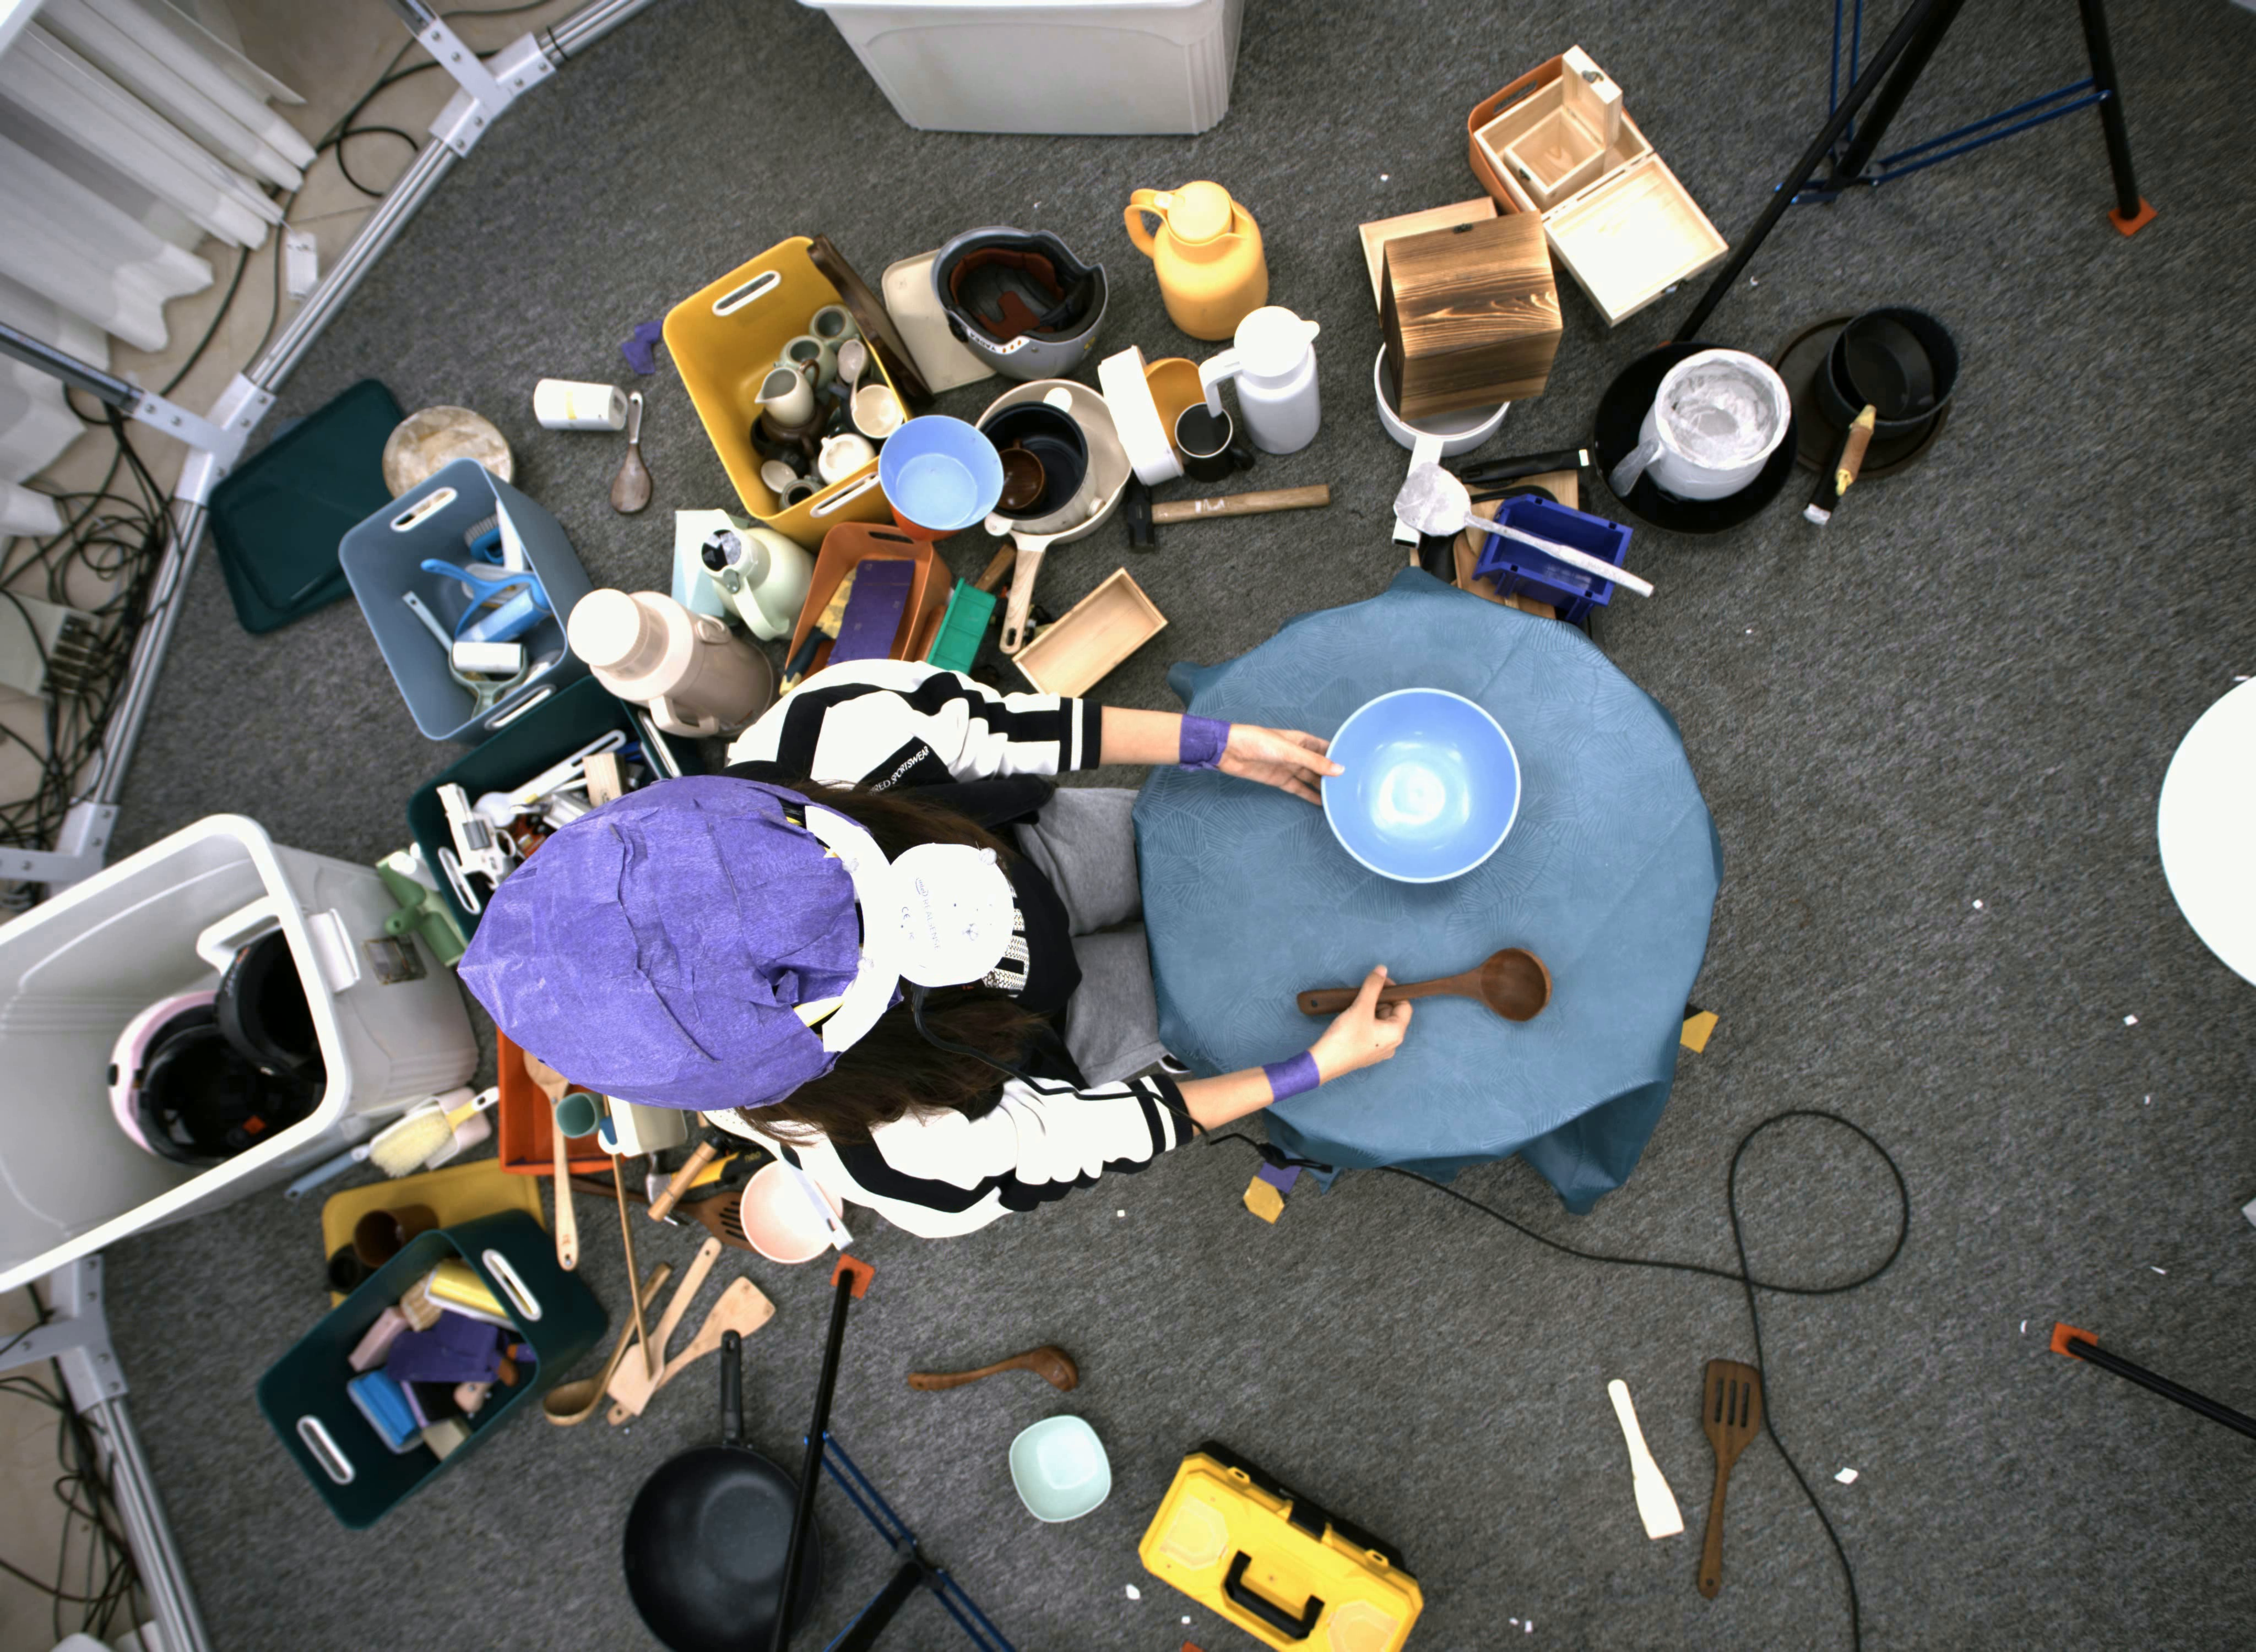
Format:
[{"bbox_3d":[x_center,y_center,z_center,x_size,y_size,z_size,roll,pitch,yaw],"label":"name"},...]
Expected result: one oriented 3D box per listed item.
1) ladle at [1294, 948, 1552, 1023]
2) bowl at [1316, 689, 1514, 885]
[{"bbox_3d":[0.300,0.170,1.412,0.261,0.065,0.076,-6,90,6],"label":"ladle"},{"bbox_3d":[0.290,-0.040,1.415,0.197,0.095,0.196,0,91,6],"label":"bowl"}]
